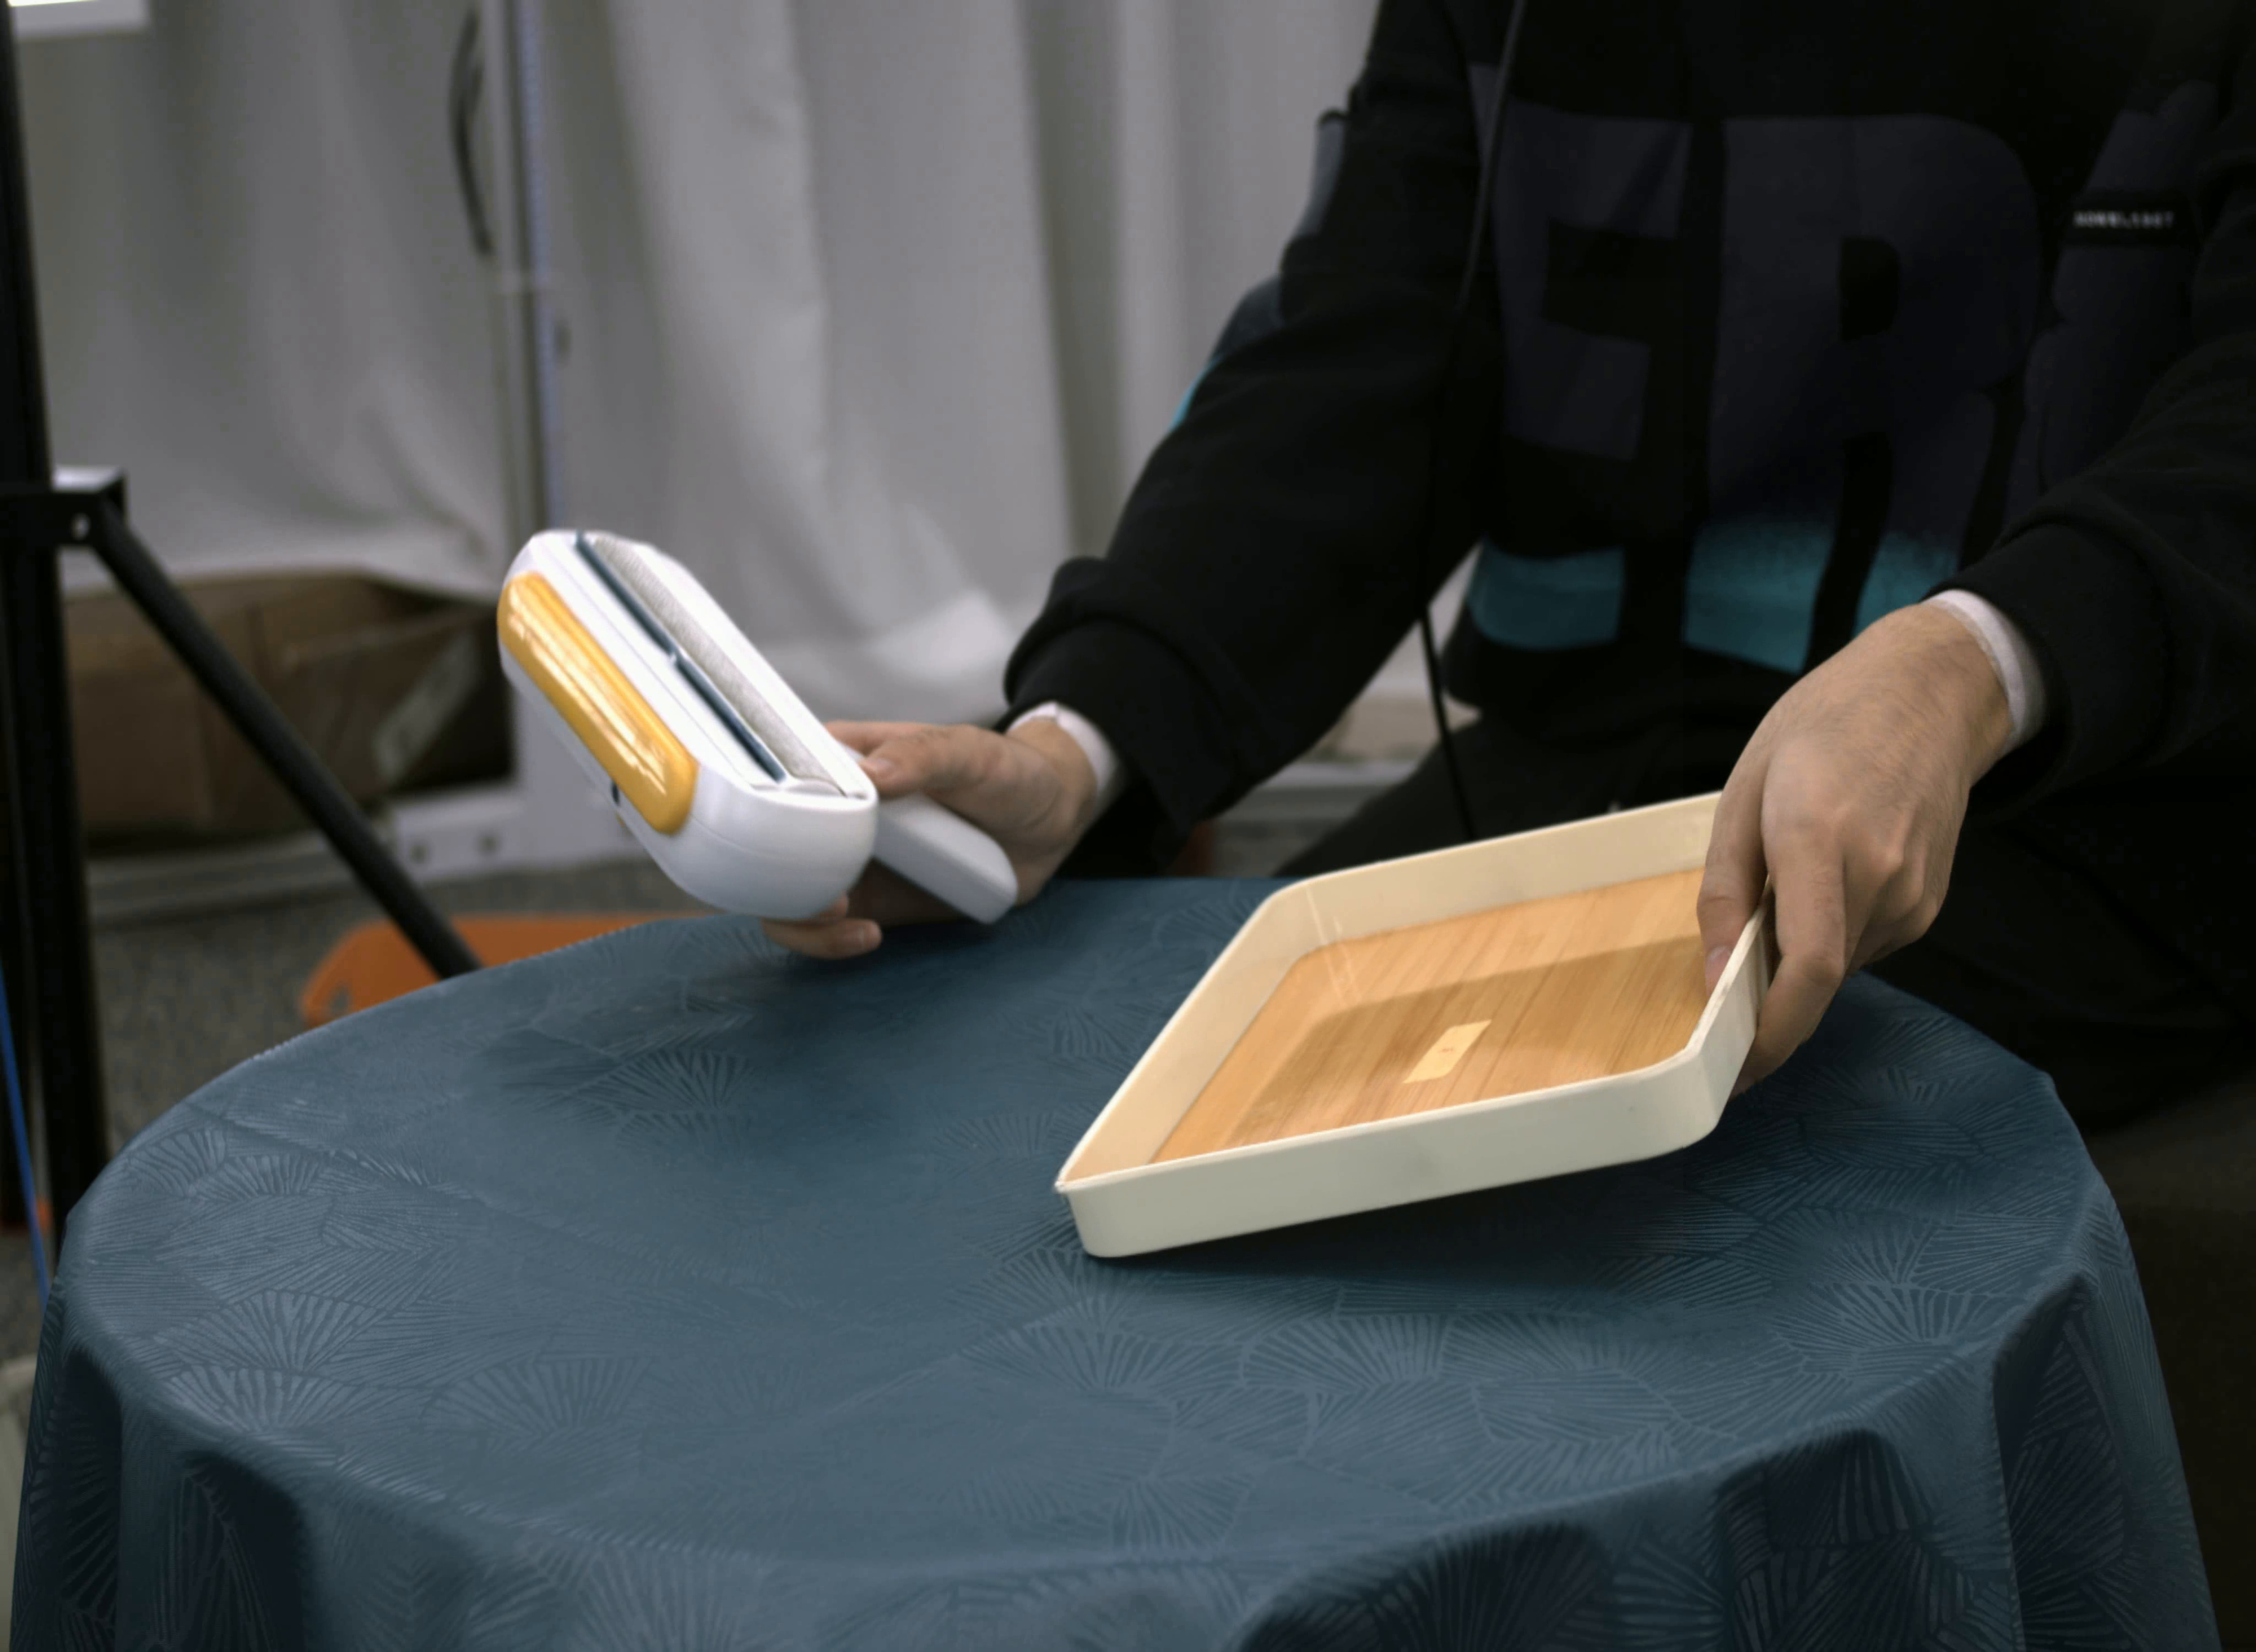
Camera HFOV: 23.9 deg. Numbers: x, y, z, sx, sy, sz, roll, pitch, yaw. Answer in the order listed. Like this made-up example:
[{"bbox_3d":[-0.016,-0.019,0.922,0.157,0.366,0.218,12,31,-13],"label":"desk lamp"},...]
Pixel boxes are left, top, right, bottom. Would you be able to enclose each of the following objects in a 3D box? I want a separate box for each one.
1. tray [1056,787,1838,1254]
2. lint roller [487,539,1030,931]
[{"bbox_3d":[0.104,0.056,1.600,0.193,0.027,0.298,-11,13,19],"label":"tray"},{"bbox_3d":[-0.105,-0.015,1.759,0.187,0.074,0.197,17,15,-34],"label":"lint roller"}]
